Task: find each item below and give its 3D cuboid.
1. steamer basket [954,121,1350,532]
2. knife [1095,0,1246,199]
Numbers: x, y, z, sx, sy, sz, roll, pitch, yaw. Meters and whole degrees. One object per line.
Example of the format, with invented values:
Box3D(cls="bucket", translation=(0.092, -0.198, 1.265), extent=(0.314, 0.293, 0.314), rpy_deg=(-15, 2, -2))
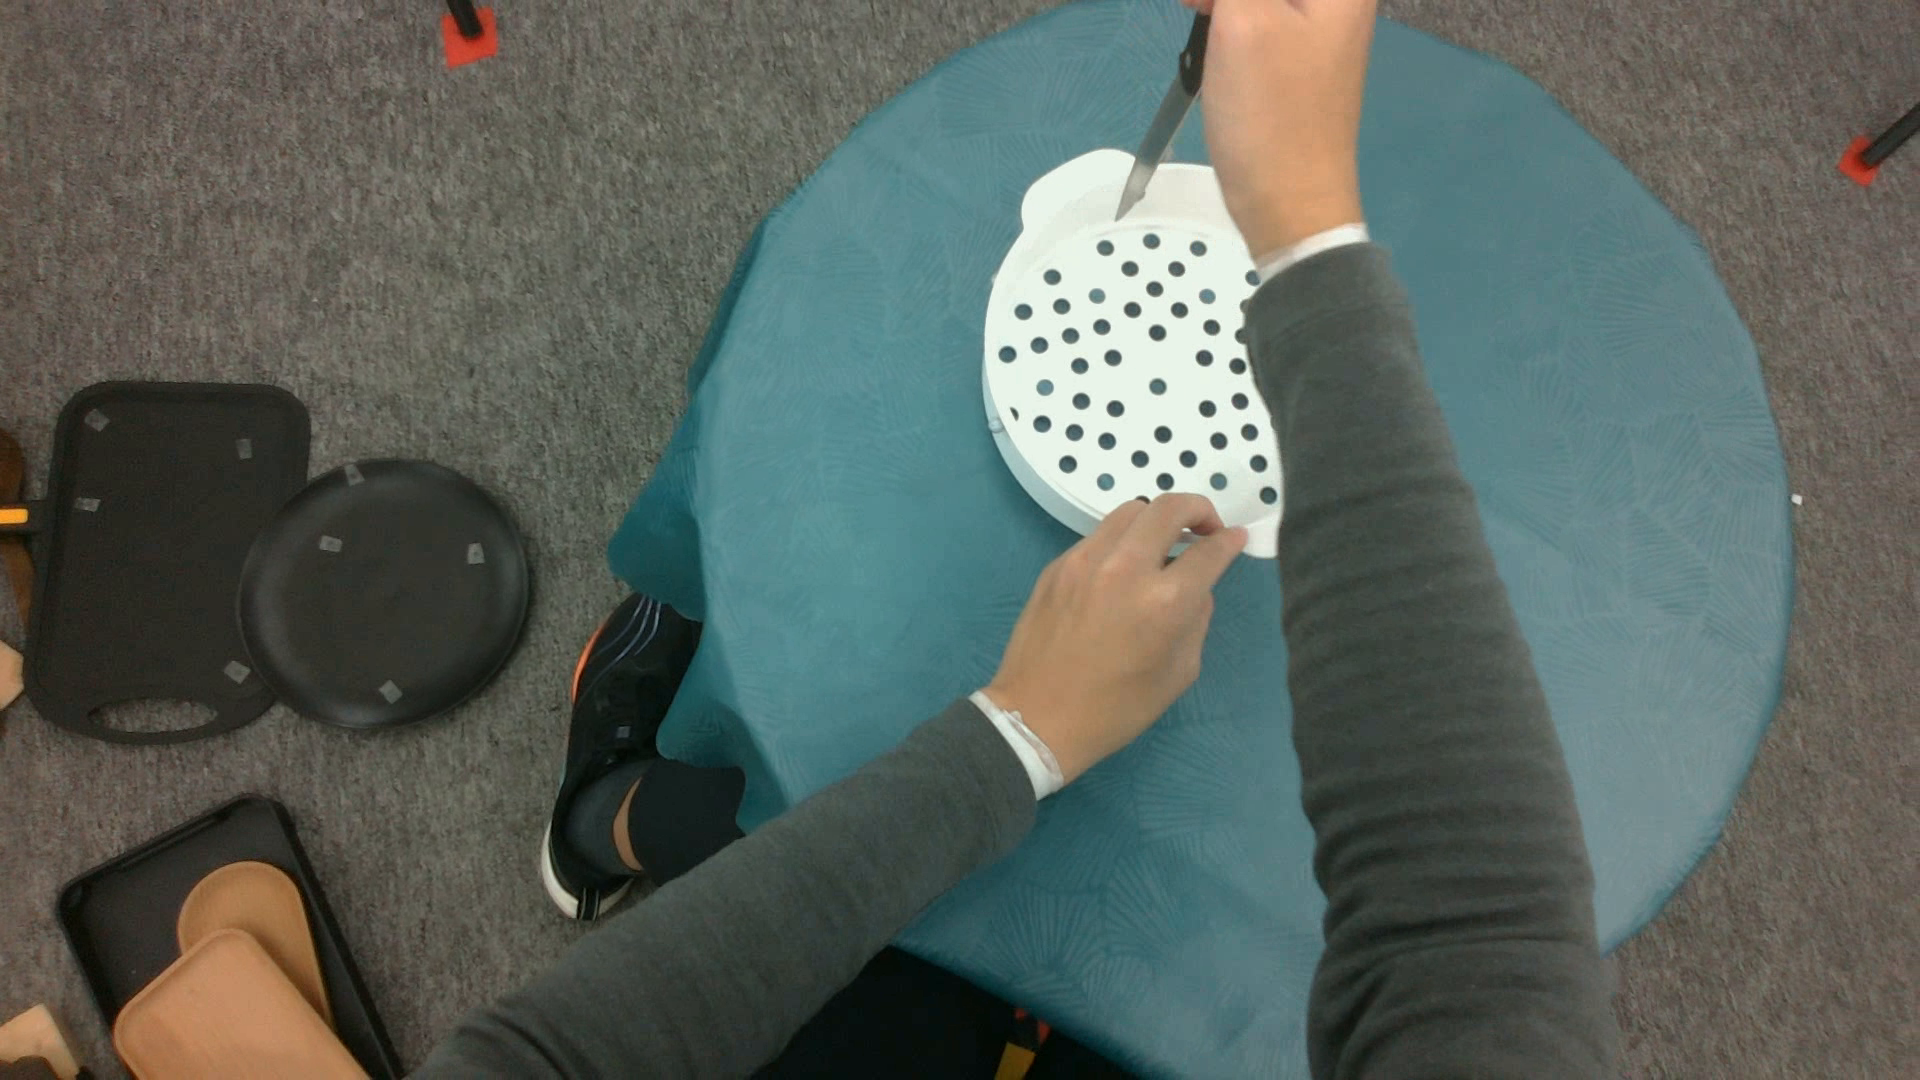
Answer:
Box3D(cls="steamer basket", translation=(0.095, -0.105, 0.716), extent=(0.202, 0.069, 0.230), rpy_deg=(-30, 82, -11))
Box3D(cls="knife", translation=(0.090, -0.196, 0.571), extent=(0.016, 0.237, 0.024), rpy_deg=(4, 75, -10))
